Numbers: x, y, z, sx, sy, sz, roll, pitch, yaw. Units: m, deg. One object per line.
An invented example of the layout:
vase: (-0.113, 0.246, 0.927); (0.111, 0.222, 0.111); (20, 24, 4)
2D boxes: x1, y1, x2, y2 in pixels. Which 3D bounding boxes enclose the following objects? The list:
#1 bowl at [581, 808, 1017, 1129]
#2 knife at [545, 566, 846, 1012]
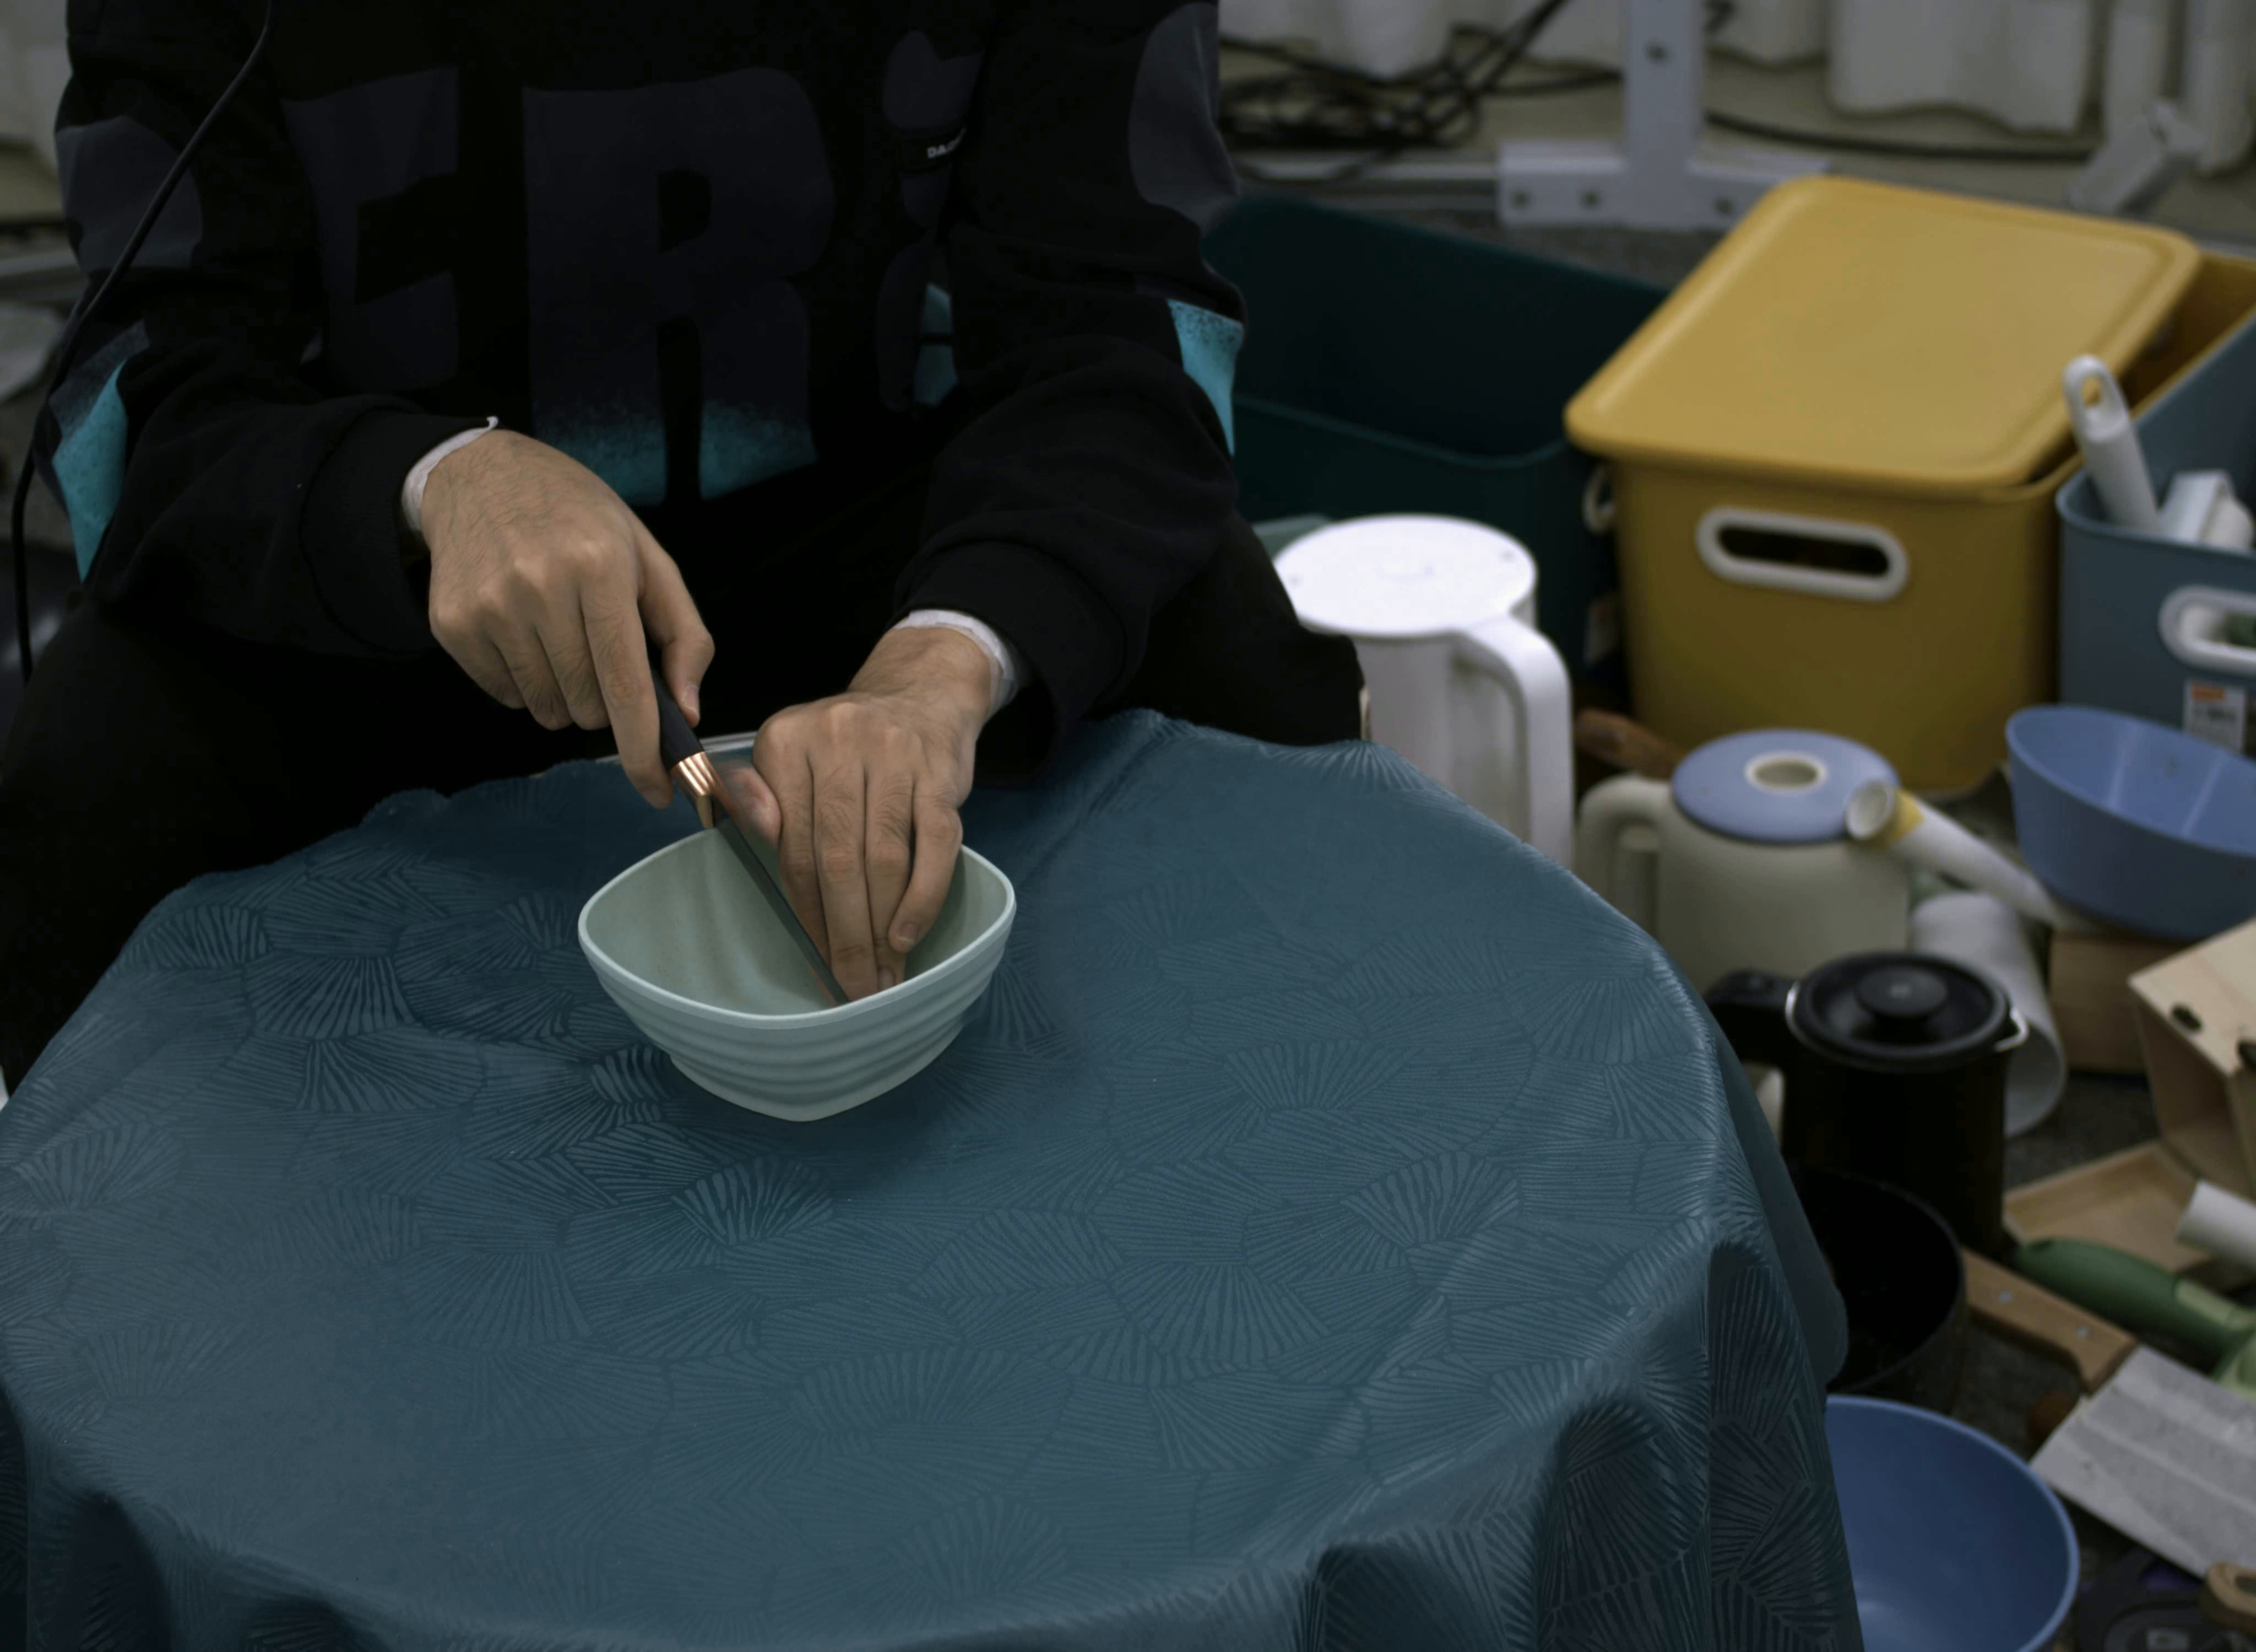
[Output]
bowl: (-0.111, 0.055, 1.943); (0.150, 0.058, 0.154); (-3, 28, 2)
knife: (-0.144, -0.004, 1.964); (0.017, 0.026, 0.227); (-24, 63, -23)
